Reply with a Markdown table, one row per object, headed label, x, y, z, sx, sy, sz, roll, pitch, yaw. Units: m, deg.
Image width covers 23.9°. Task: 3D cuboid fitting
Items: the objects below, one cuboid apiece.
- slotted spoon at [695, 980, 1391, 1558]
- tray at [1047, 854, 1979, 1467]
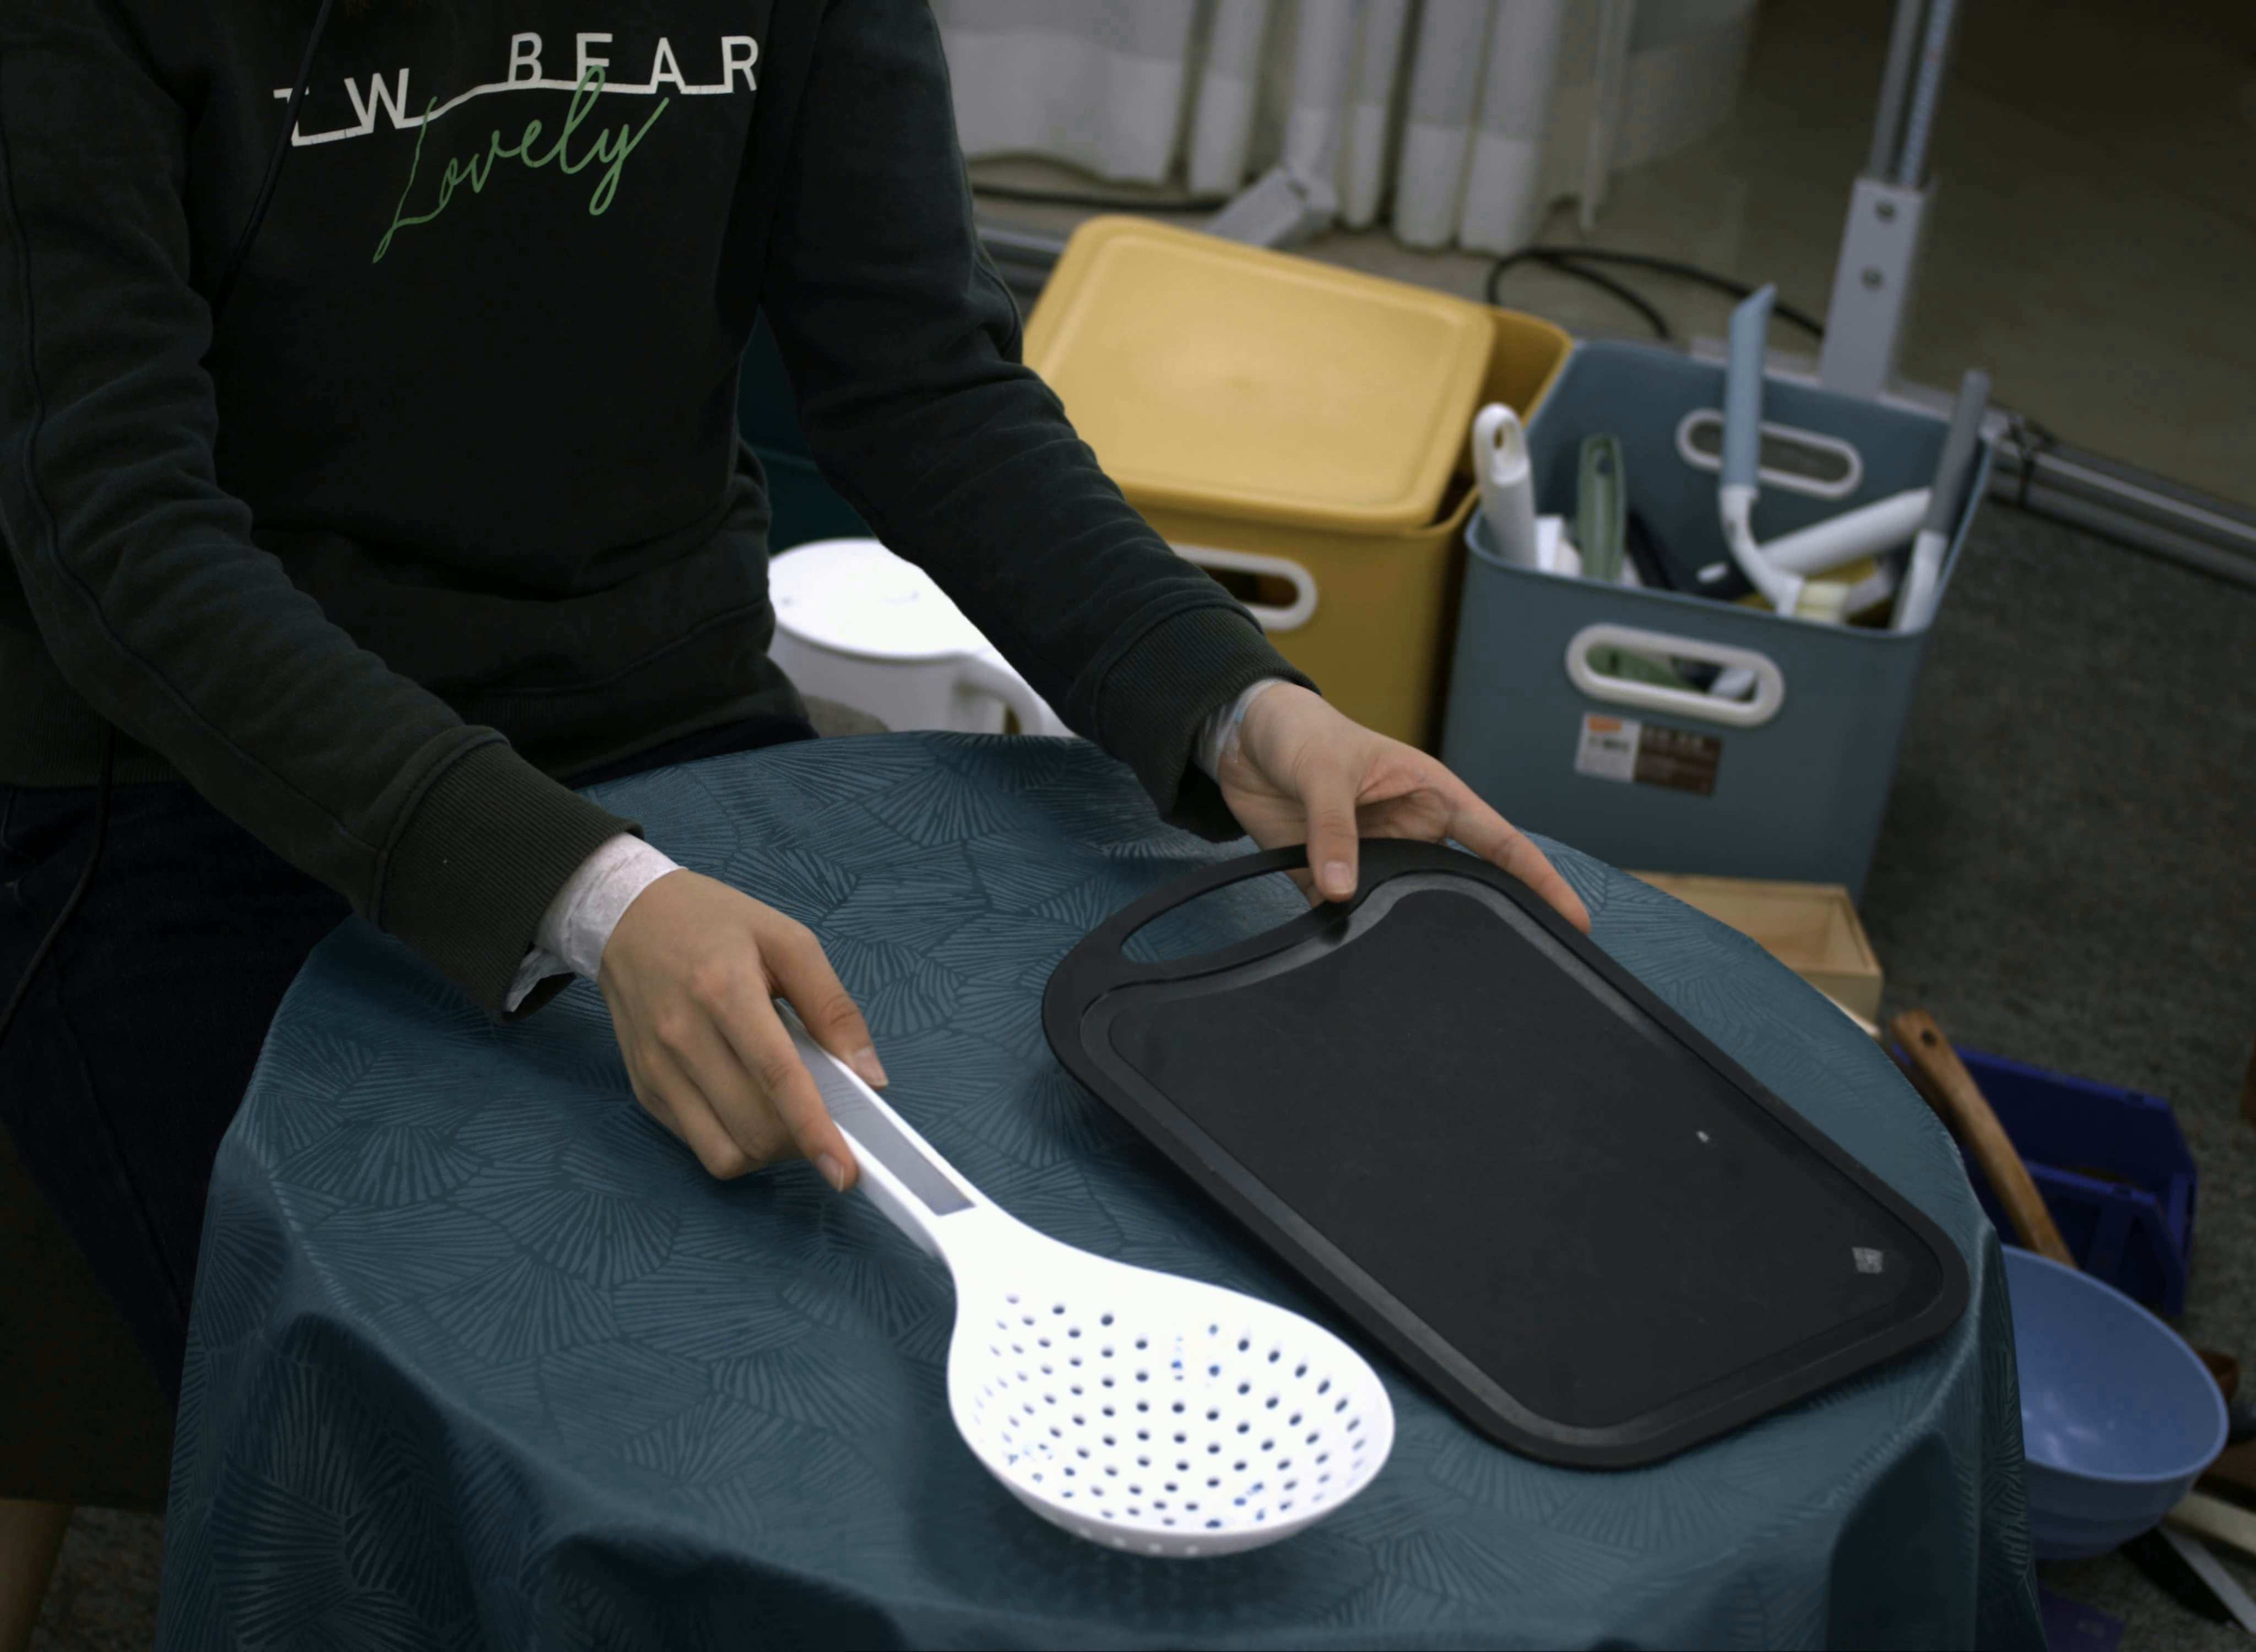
| label | x | y | z | sx | sy | sz | roll | pitch | yaw |
| --- | --- | --- | --- | --- | --- | --- | --- | --- | --- |
| slotted spoon | -0.046 | 0.135 | 1.695 | 0.135 | 0.045 | 0.353 | -11 | 36 | -31 |
| tray | 0.122 | 0.102 | 1.816 | 0.210 | 0.010 | 0.328 | -18 | 41 | -33 |
